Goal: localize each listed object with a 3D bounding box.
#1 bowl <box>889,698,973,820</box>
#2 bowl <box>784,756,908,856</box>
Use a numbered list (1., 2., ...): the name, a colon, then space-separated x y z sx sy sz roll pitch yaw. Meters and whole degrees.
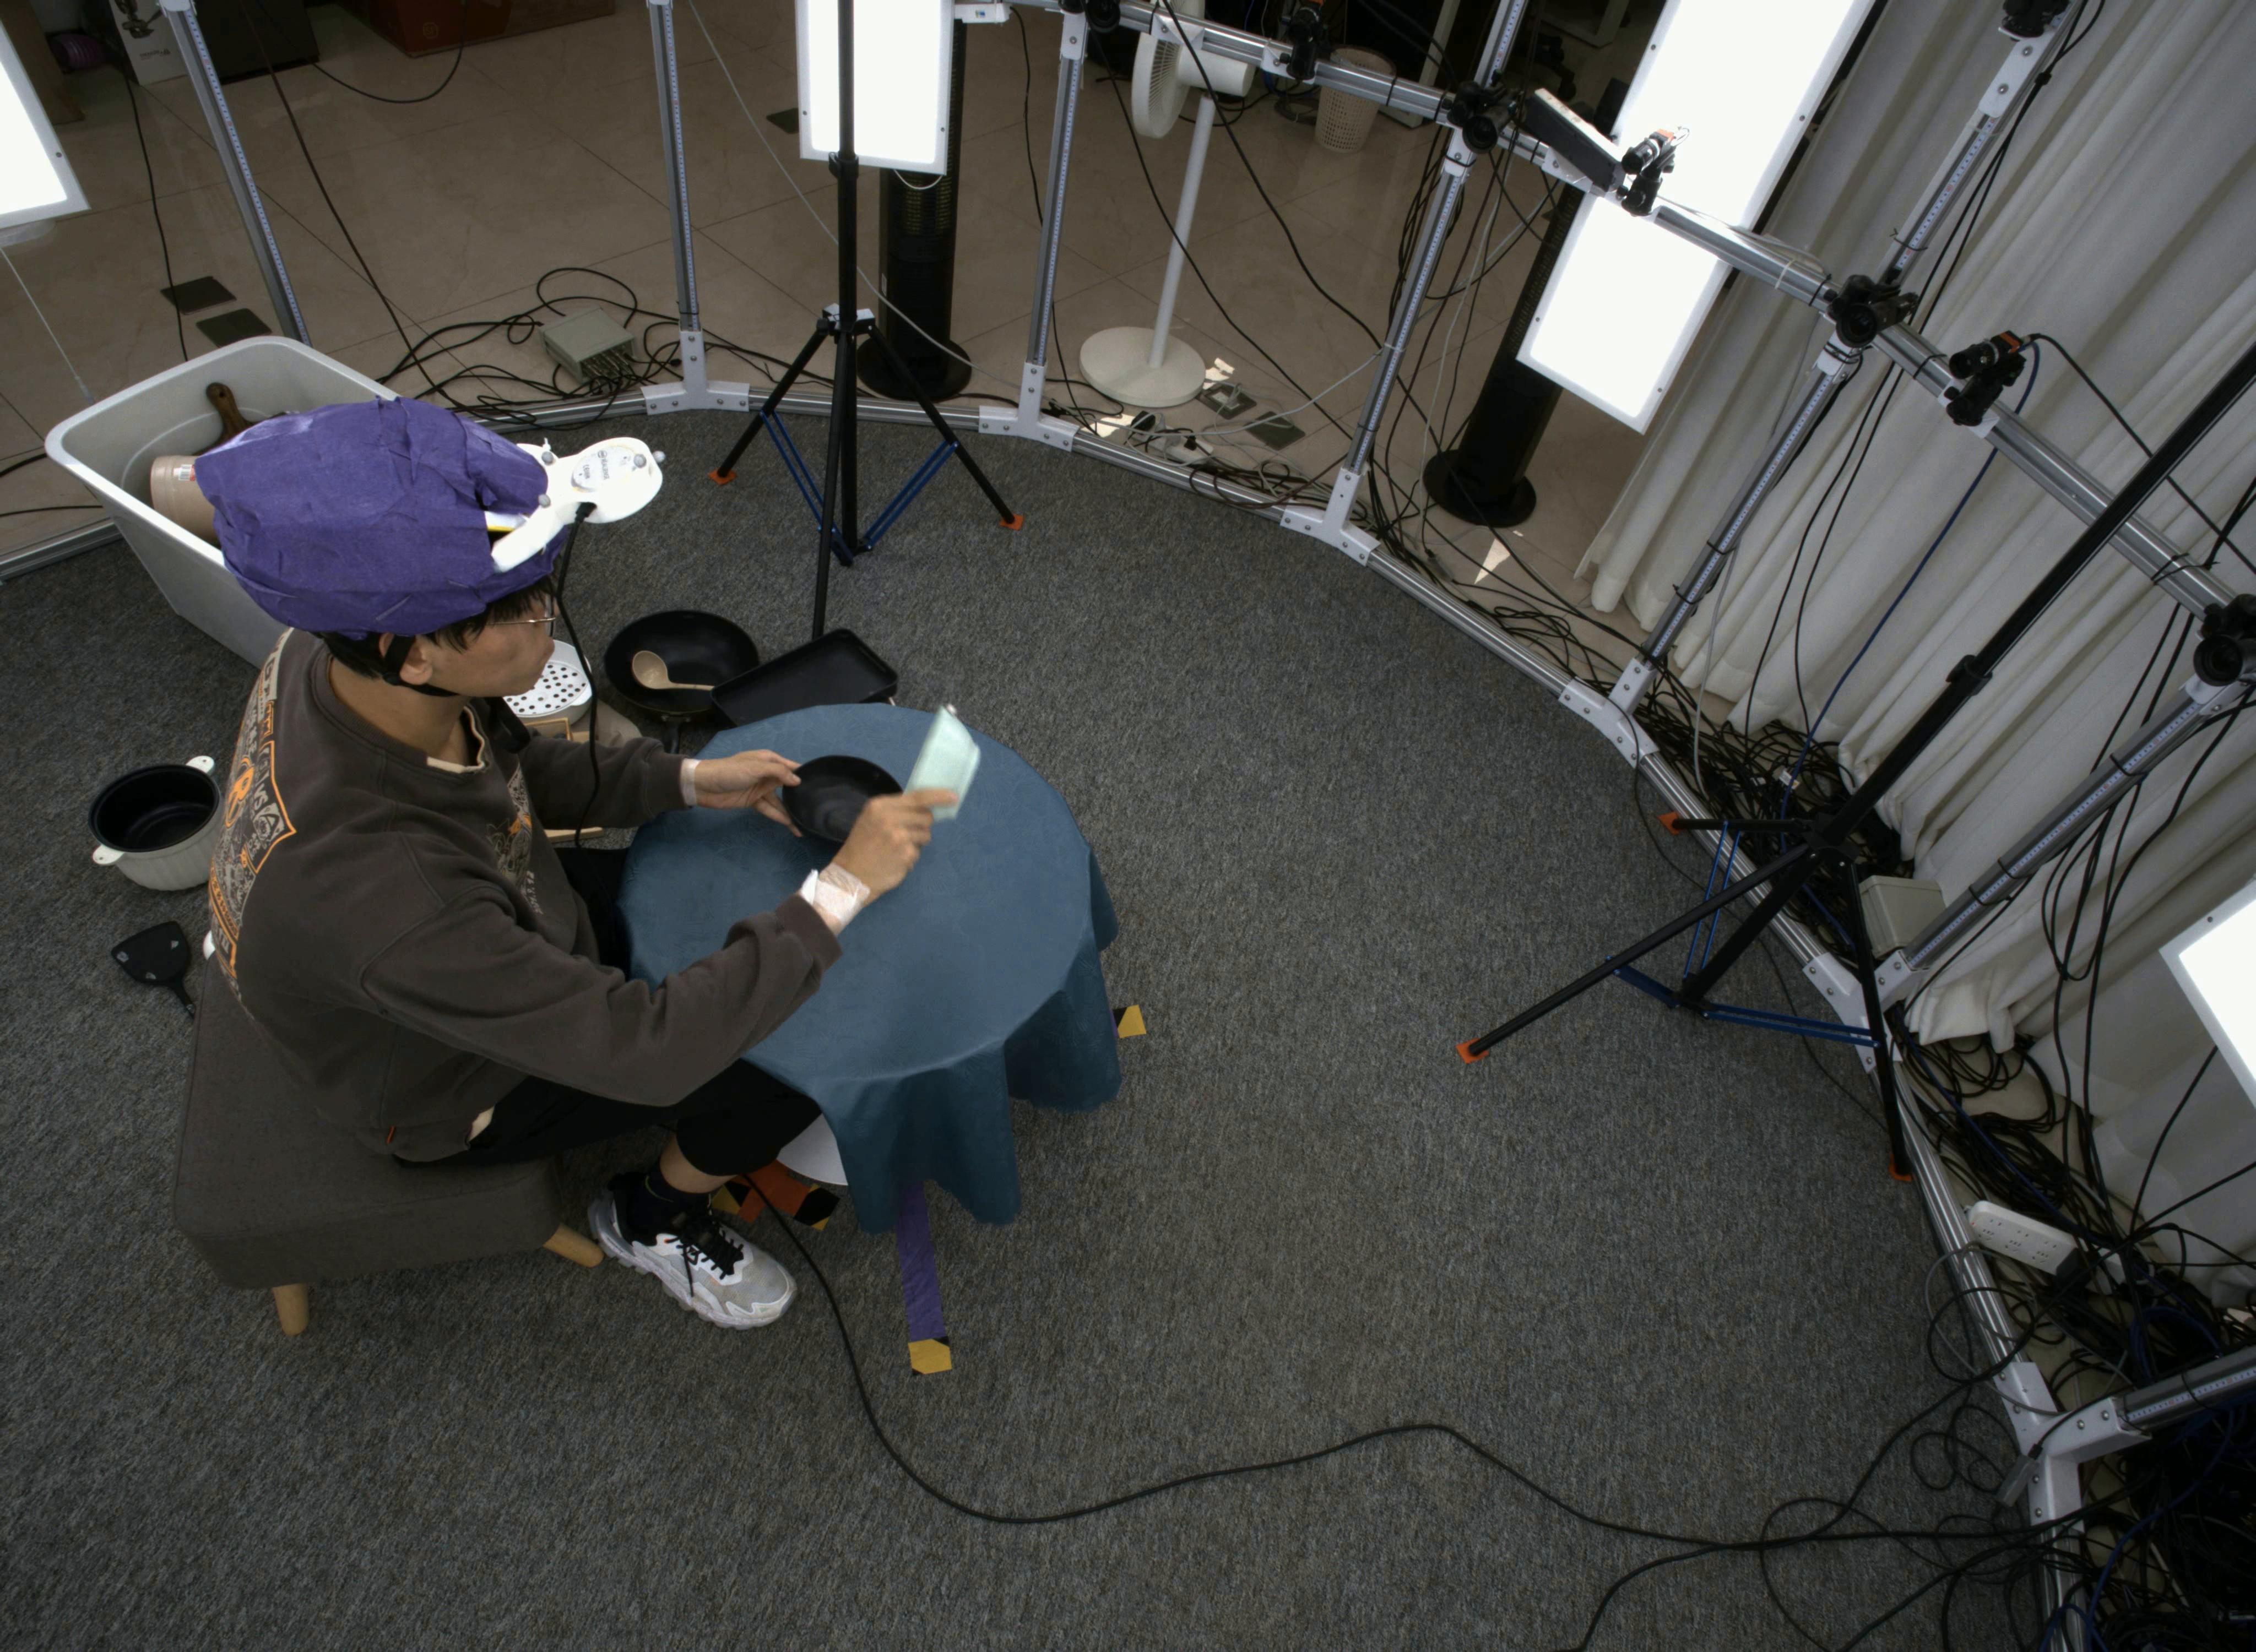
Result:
1. bowl: -0.215 -0.067 1.454 0.058 0.153 0.149 19 51 -5
2. bowl: -0.368 -0.016 1.703 0.168 0.068 0.136 24 53 2
